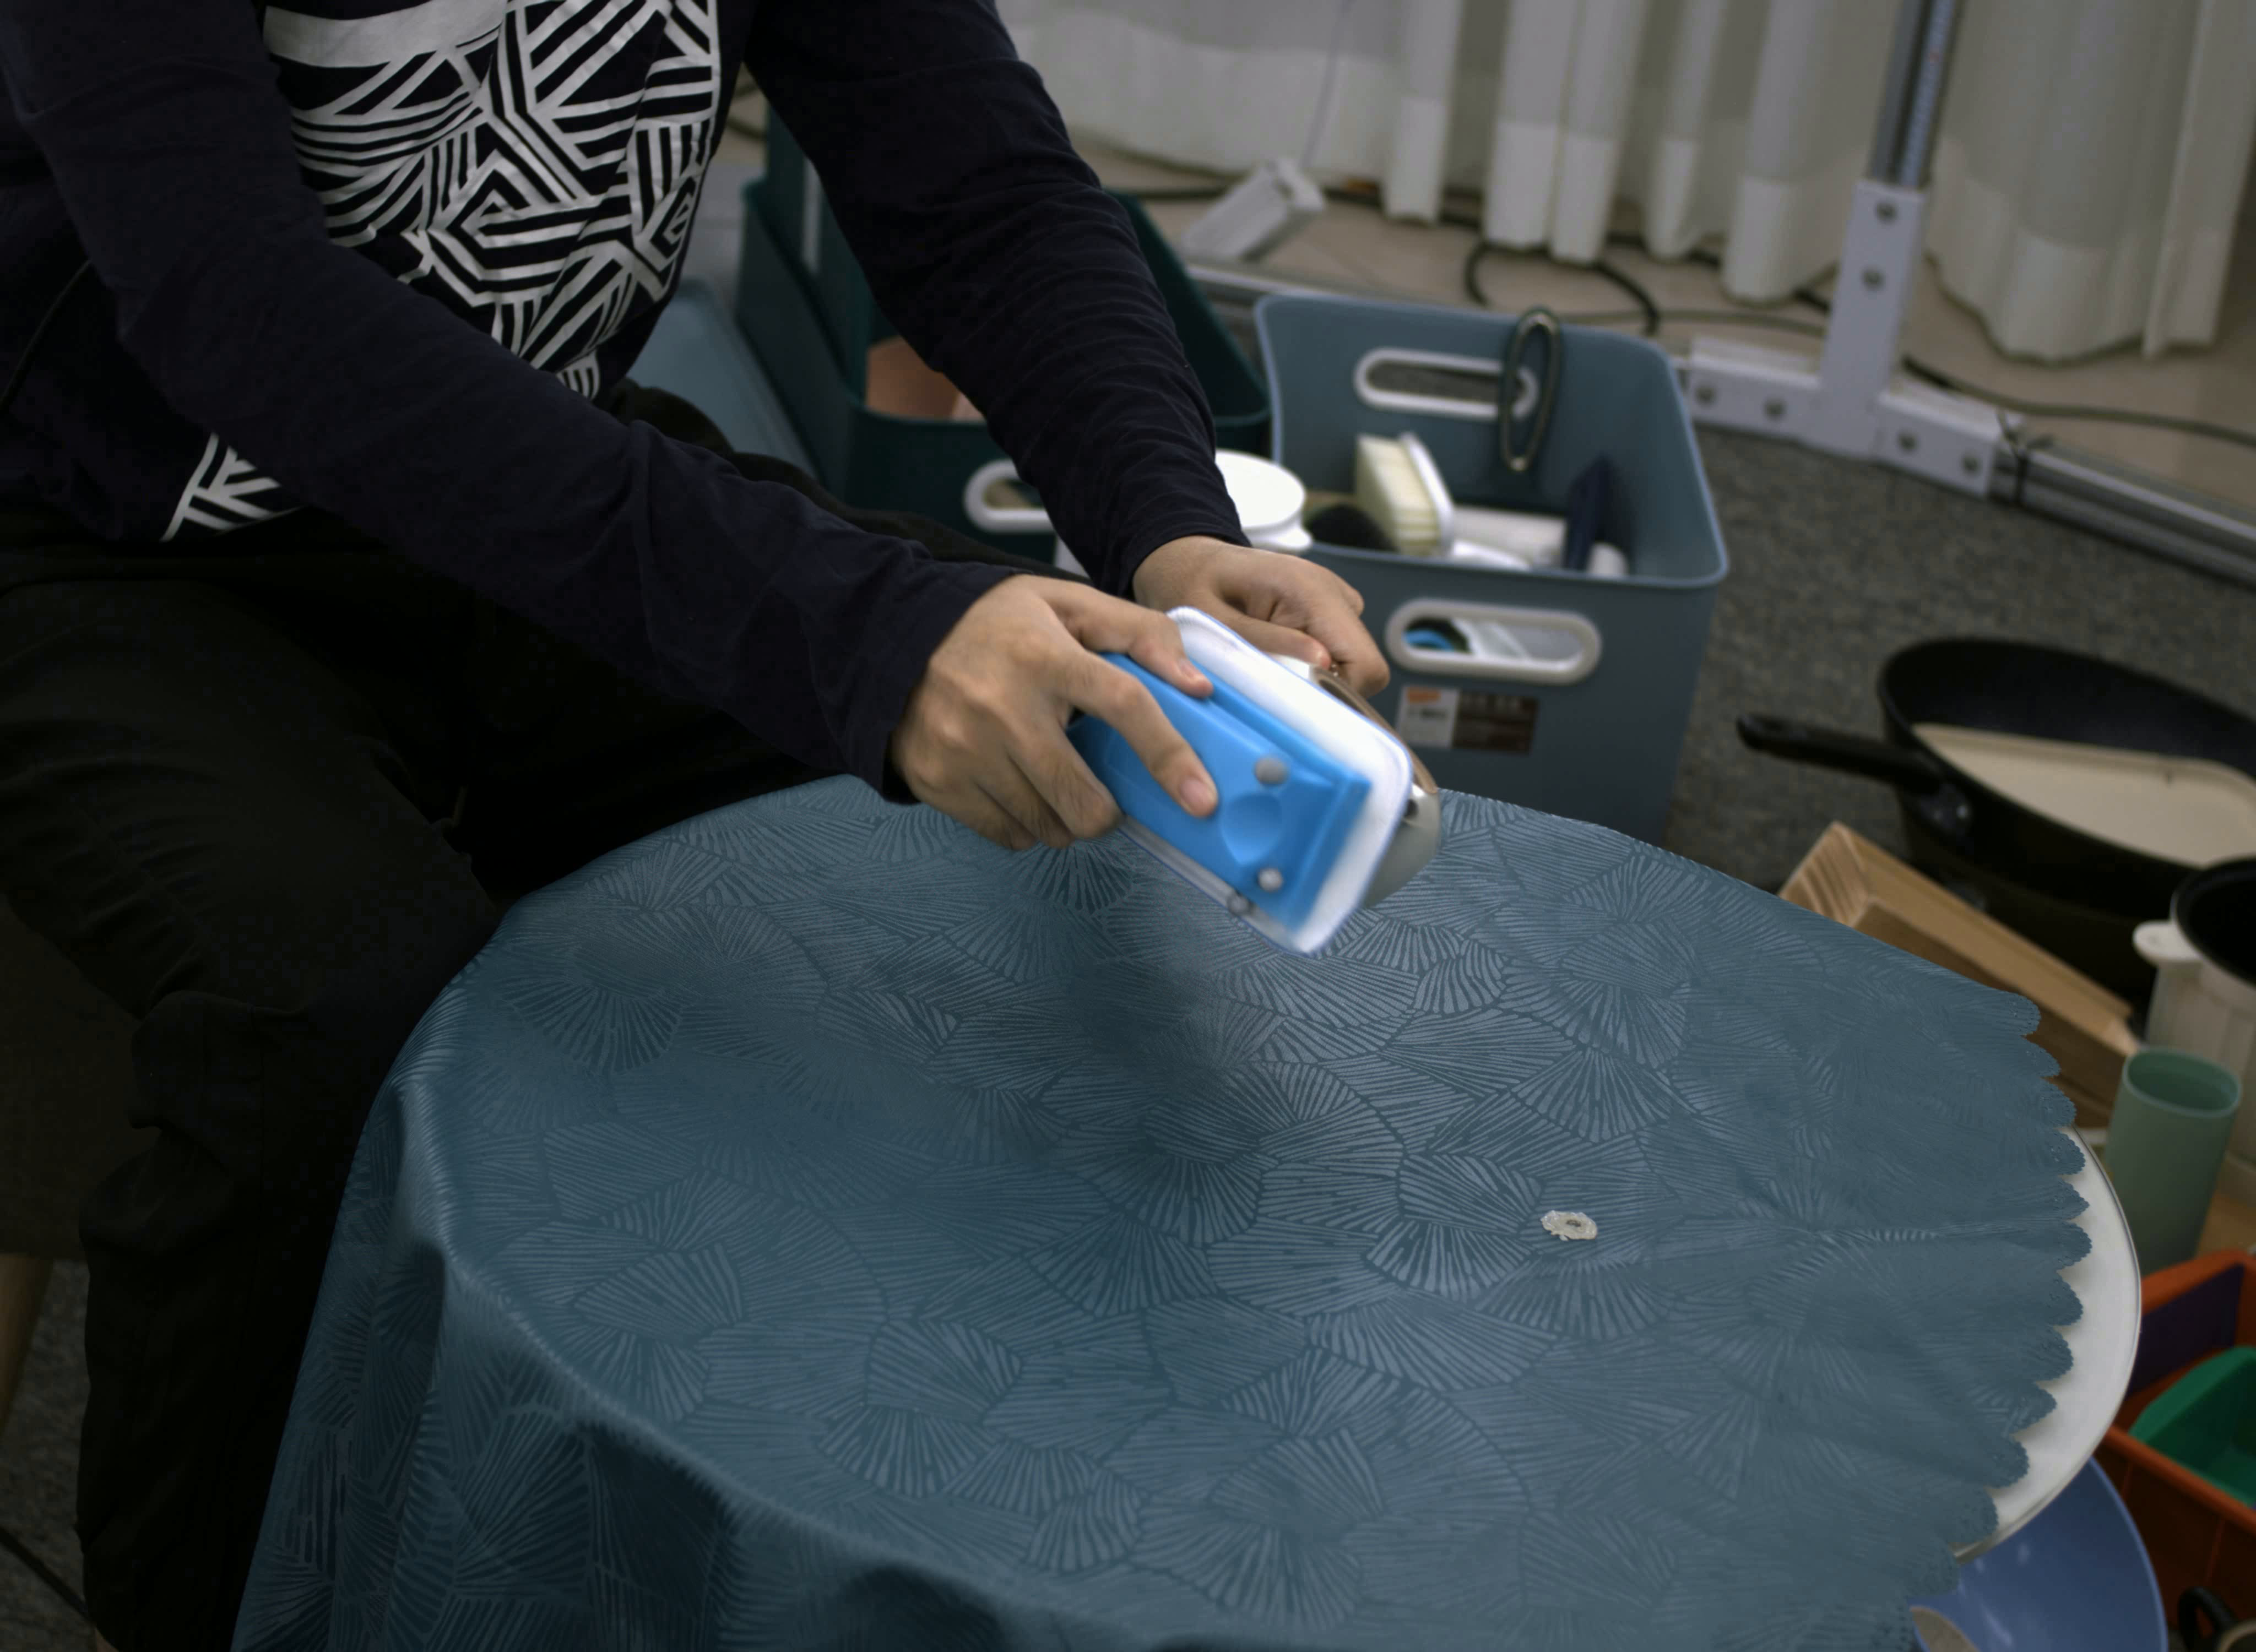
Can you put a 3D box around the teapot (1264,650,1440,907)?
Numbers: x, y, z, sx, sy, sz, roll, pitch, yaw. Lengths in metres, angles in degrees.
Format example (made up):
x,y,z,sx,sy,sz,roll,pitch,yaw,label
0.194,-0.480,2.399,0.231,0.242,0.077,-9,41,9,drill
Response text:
x,y,z,sx,sy,sz,roll,pitch,yaw,label
0.063,-0.019,1.854,0.091,0.059,0.129,36,16,-32,teapot

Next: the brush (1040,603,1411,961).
x,y,z,sx,sy,sz,roll,pitch,yaw,label
0.024,-0.019,1.782,0.145,0.084,0.055,35,7,39,brush
